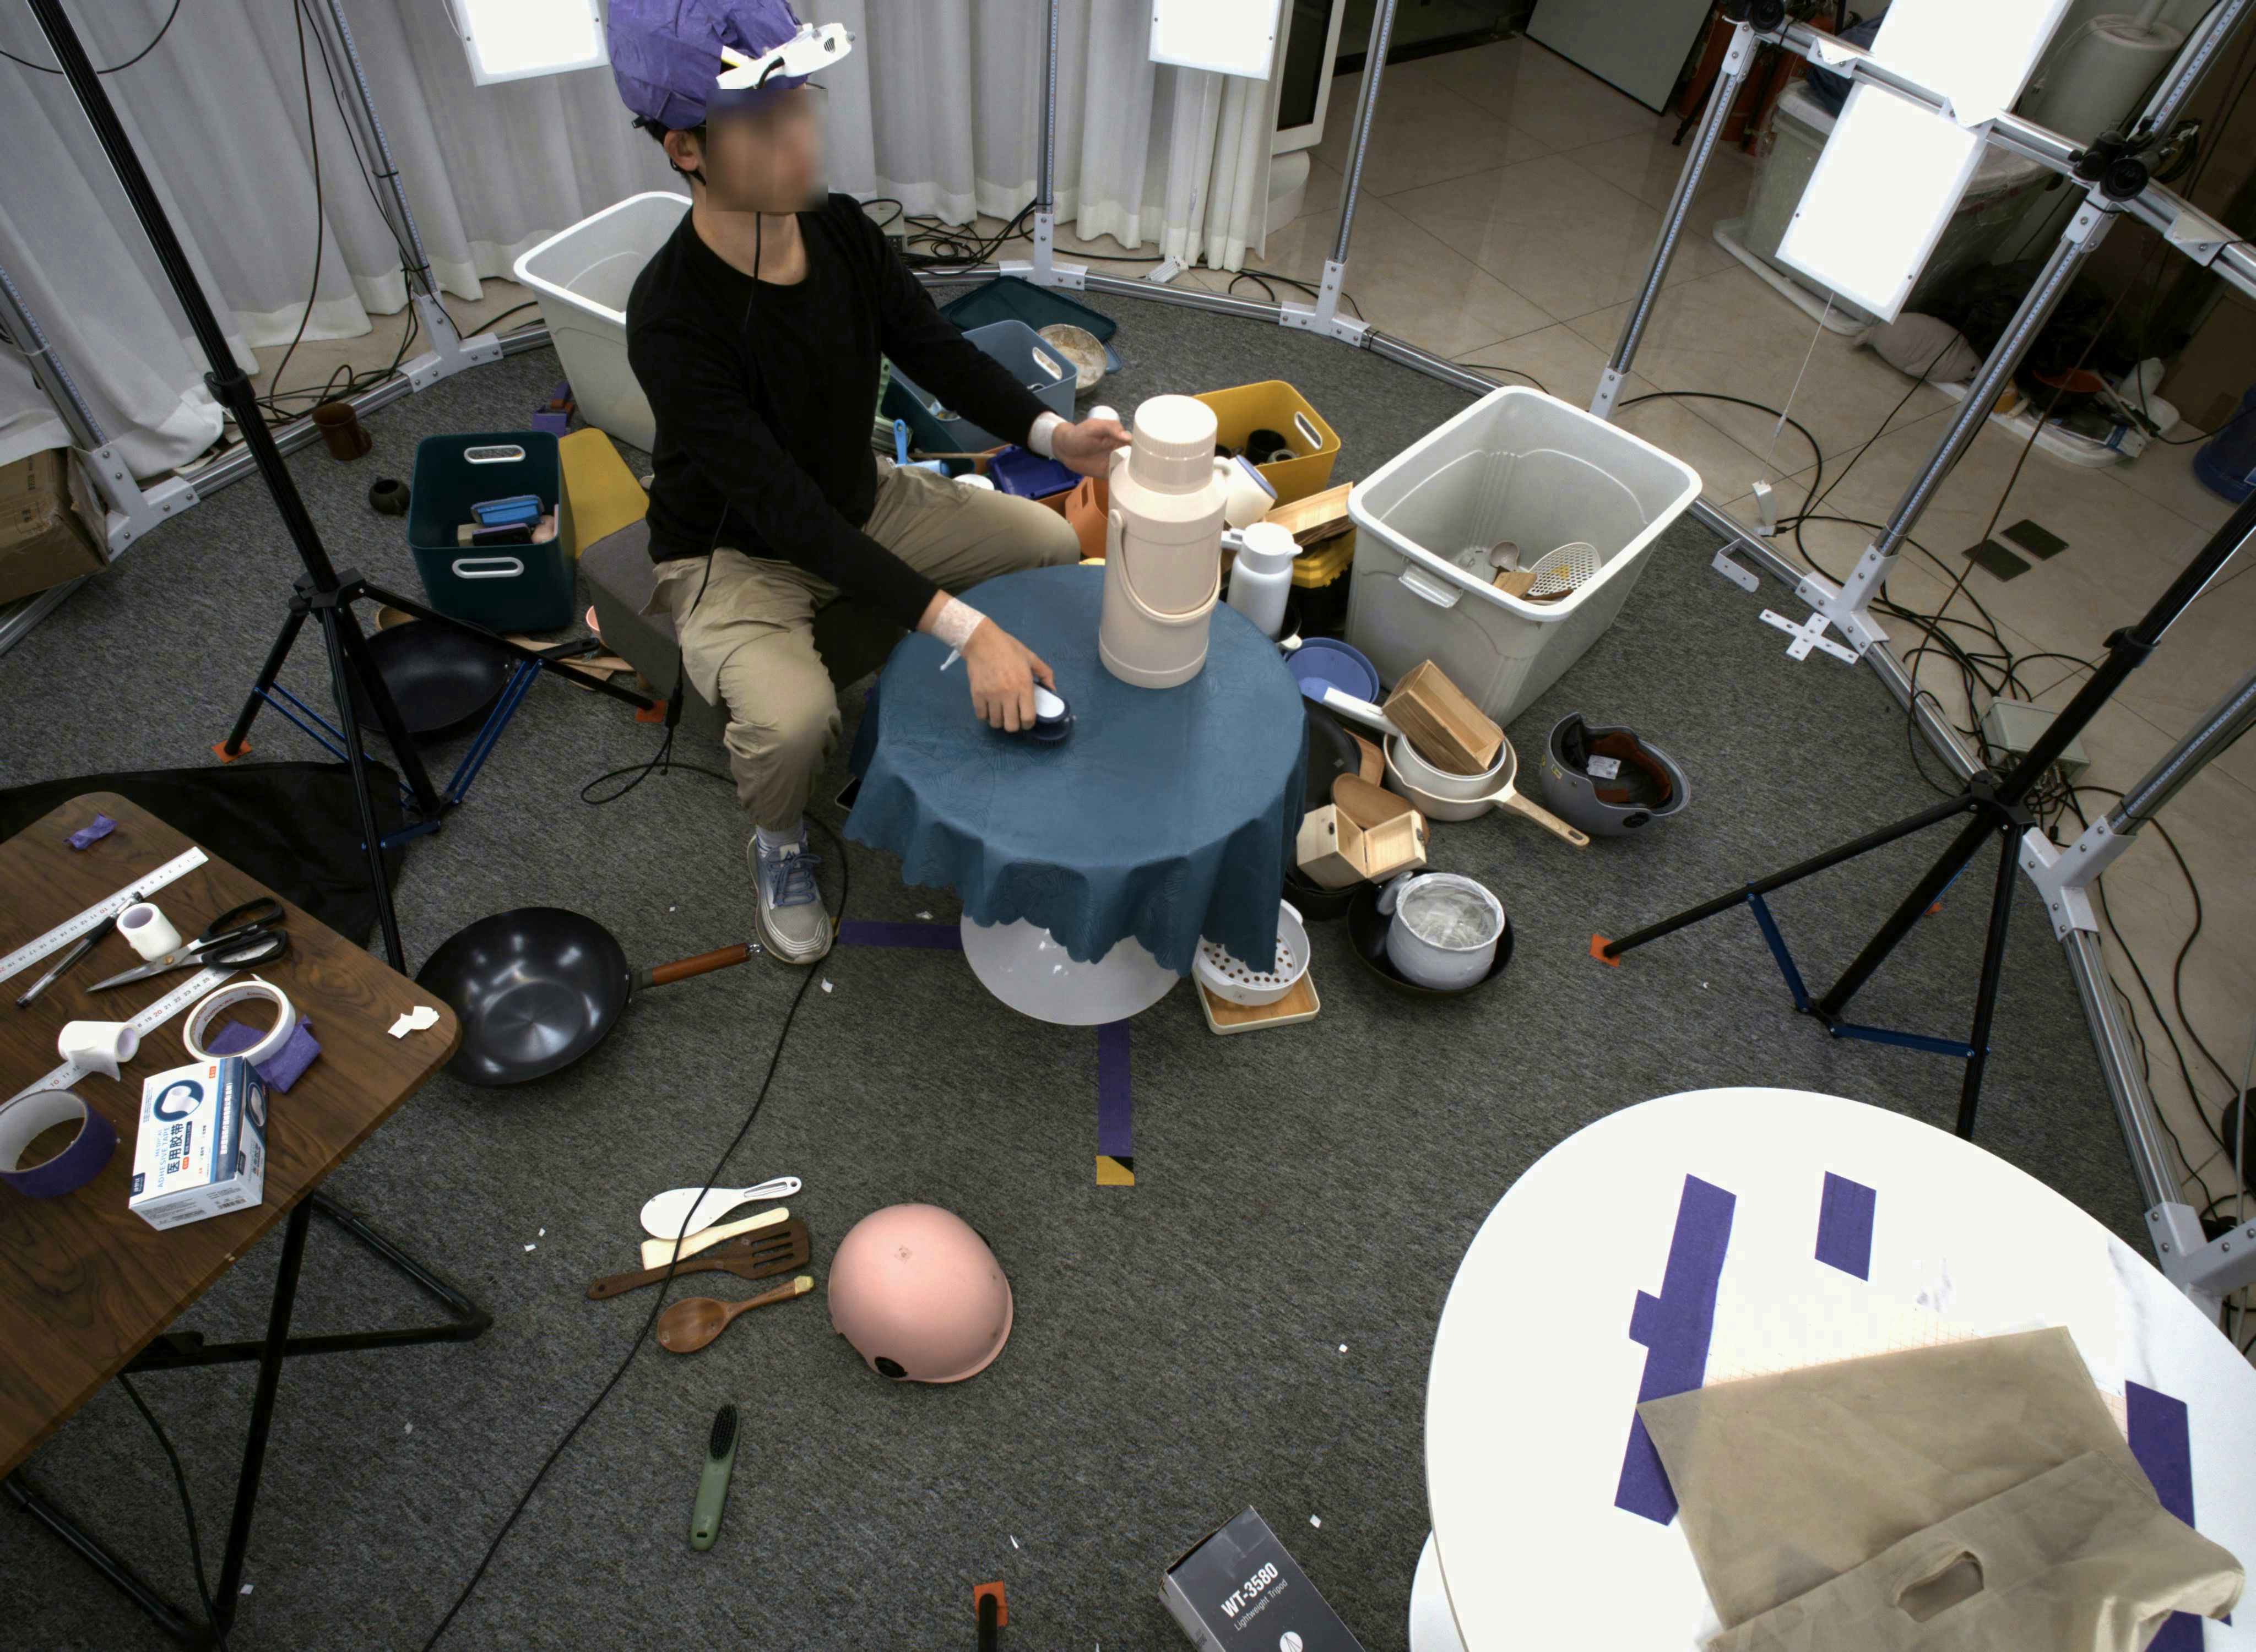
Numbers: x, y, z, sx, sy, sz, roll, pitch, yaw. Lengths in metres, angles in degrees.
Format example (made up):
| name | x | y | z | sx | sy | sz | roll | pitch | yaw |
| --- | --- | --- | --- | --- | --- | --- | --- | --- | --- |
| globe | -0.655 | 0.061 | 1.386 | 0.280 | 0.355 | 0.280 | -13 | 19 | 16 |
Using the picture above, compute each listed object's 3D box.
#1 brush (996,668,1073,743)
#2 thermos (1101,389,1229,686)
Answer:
| name | x | y | z | sx | sy | sz | roll | pitch | yaw |
| --- | --- | --- | --- | --- | --- | --- | --- | --- | --- |
| brush | -0.128 | -0.164 | 1.760 | 0.123 | 0.060 | 0.068 | 37 | 58 | 25 |
| thermos | 0.042 | -0.395 | 1.760 | 0.176 | 0.396 | 0.211 | -28 | 57 | -23 |
